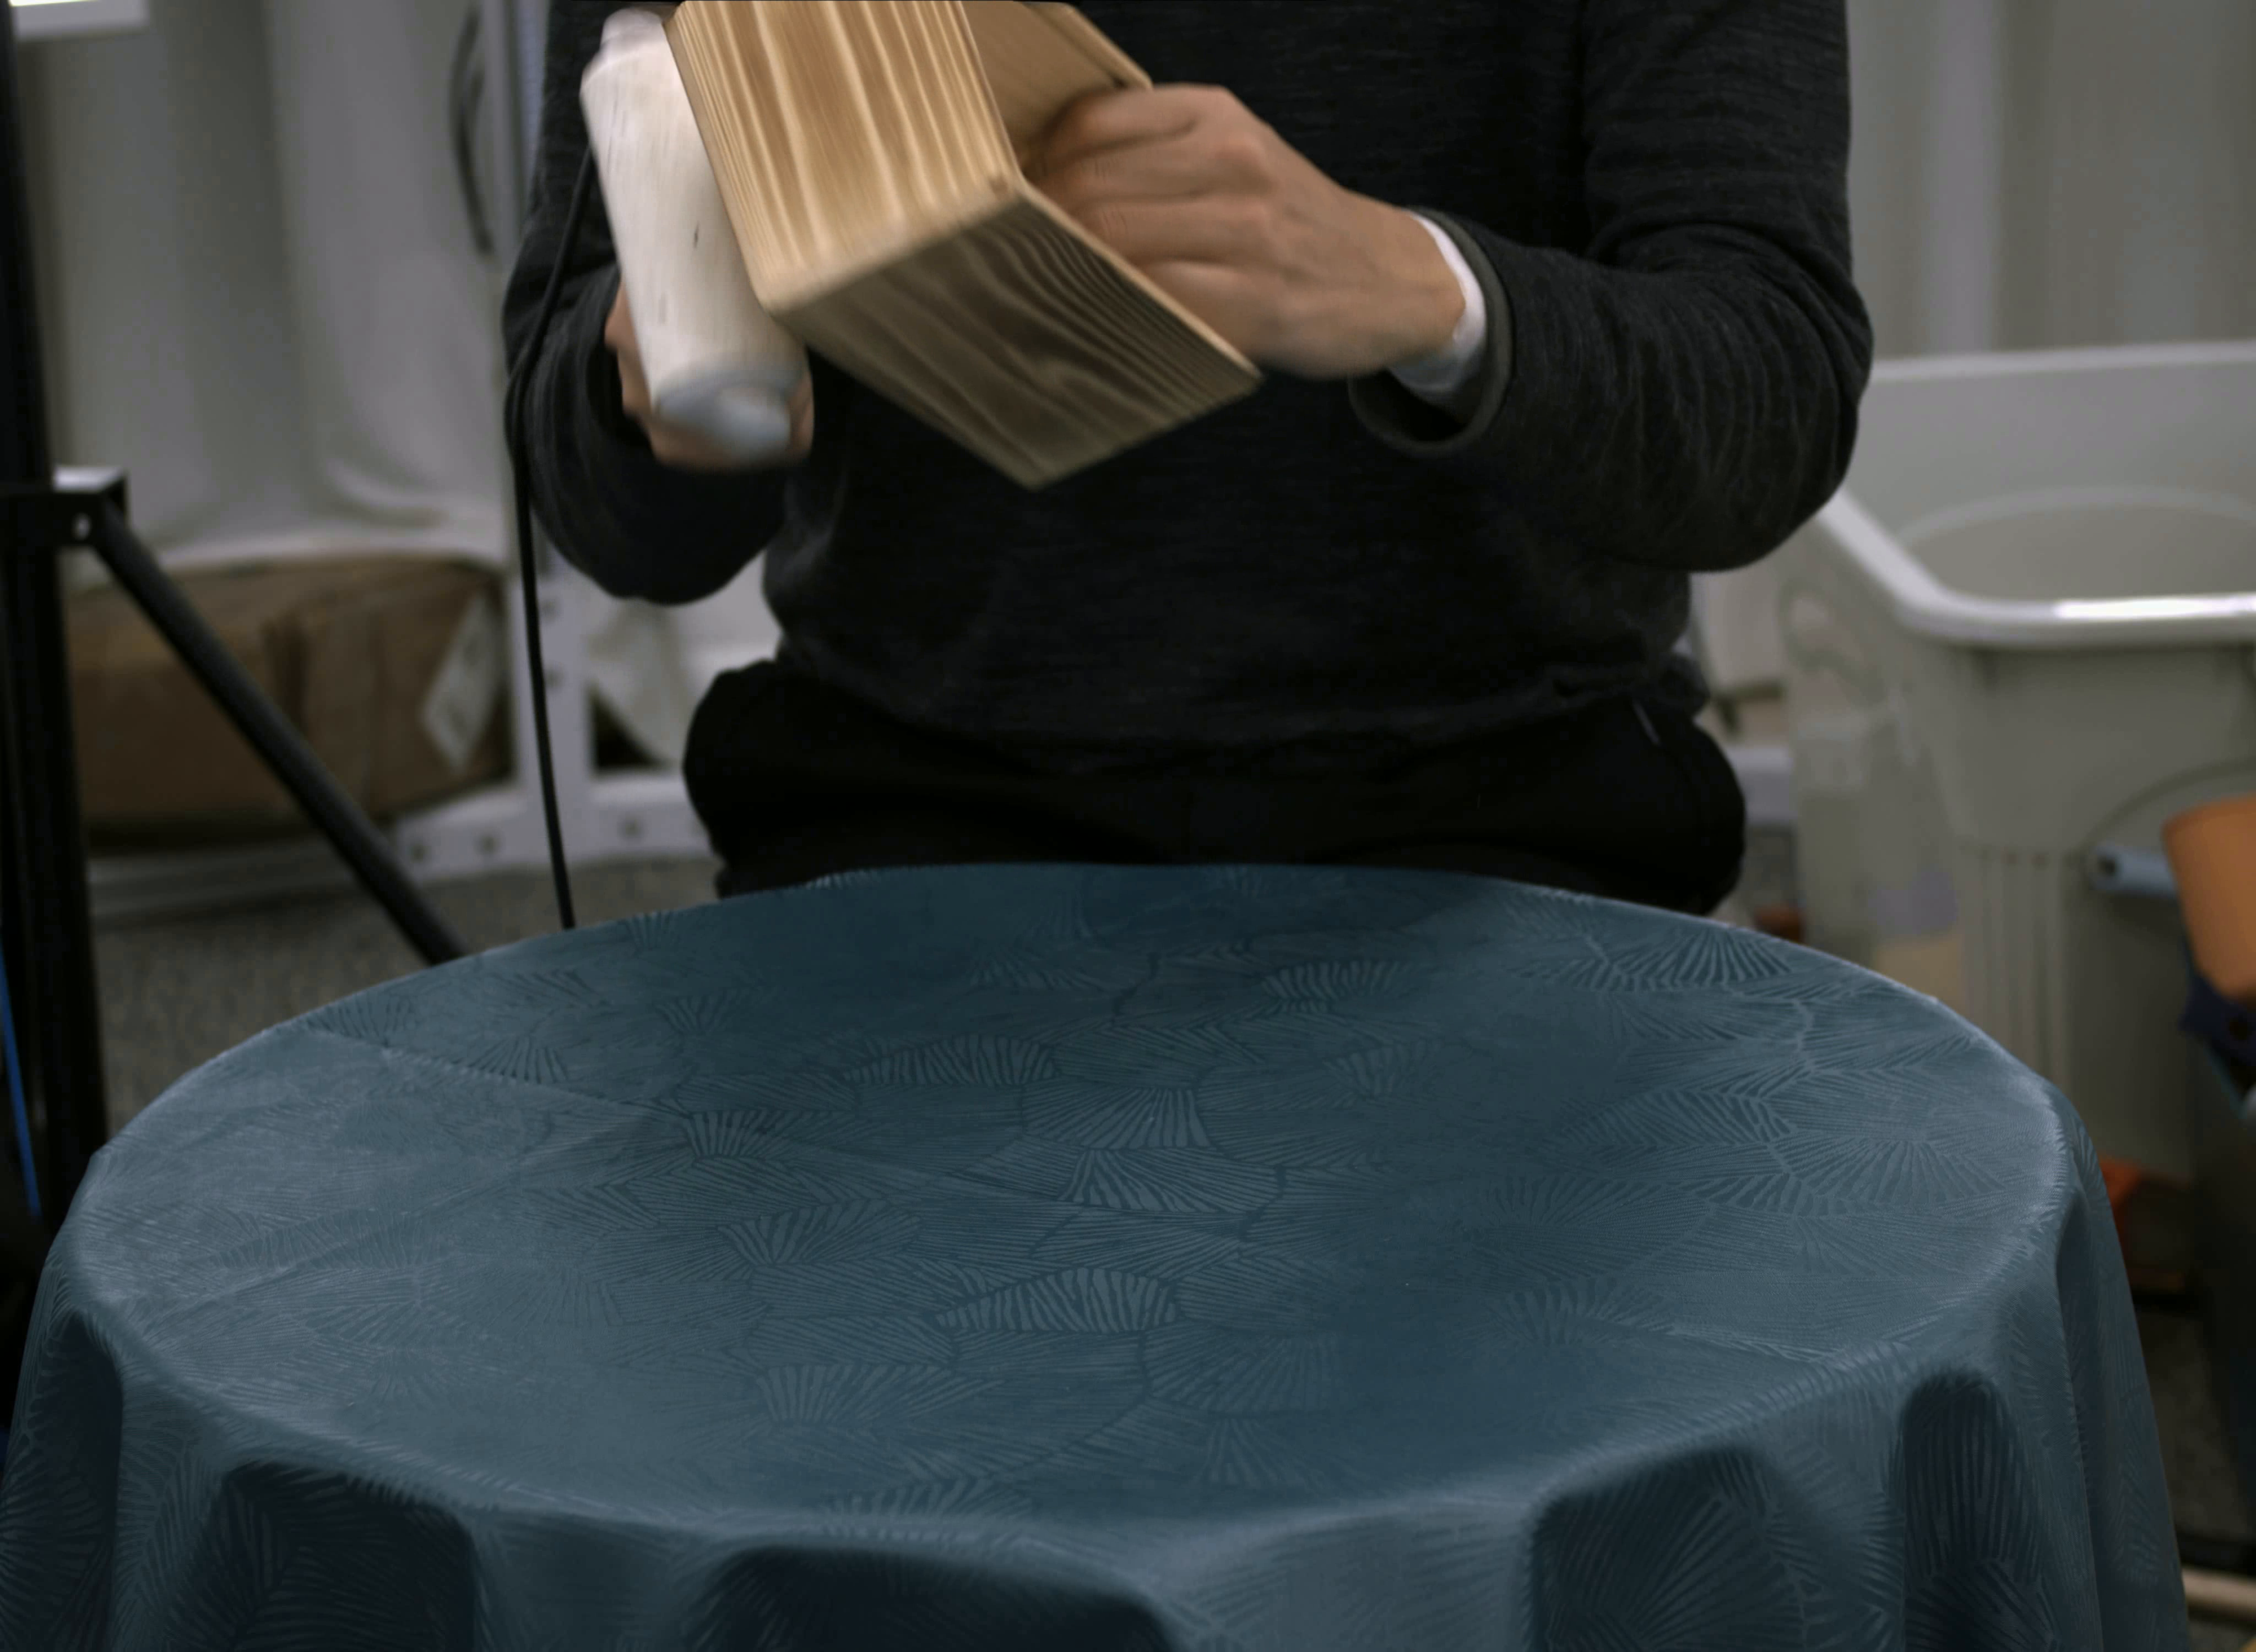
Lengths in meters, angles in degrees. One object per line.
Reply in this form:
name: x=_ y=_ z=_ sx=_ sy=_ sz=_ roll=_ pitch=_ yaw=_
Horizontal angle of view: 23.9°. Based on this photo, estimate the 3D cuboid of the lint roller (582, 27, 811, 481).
lint roller: x=-0.130 y=-0.152 z=1.602 sx=0.049 sy=0.134 sz=0.181 roll=-13 pitch=-11 yaw=-9

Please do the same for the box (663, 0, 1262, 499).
box: x=-0.043 y=-0.177 z=1.507 sx=0.080 sy=0.109 sz=0.208 roll=-24 pitch=-16 yaw=13
